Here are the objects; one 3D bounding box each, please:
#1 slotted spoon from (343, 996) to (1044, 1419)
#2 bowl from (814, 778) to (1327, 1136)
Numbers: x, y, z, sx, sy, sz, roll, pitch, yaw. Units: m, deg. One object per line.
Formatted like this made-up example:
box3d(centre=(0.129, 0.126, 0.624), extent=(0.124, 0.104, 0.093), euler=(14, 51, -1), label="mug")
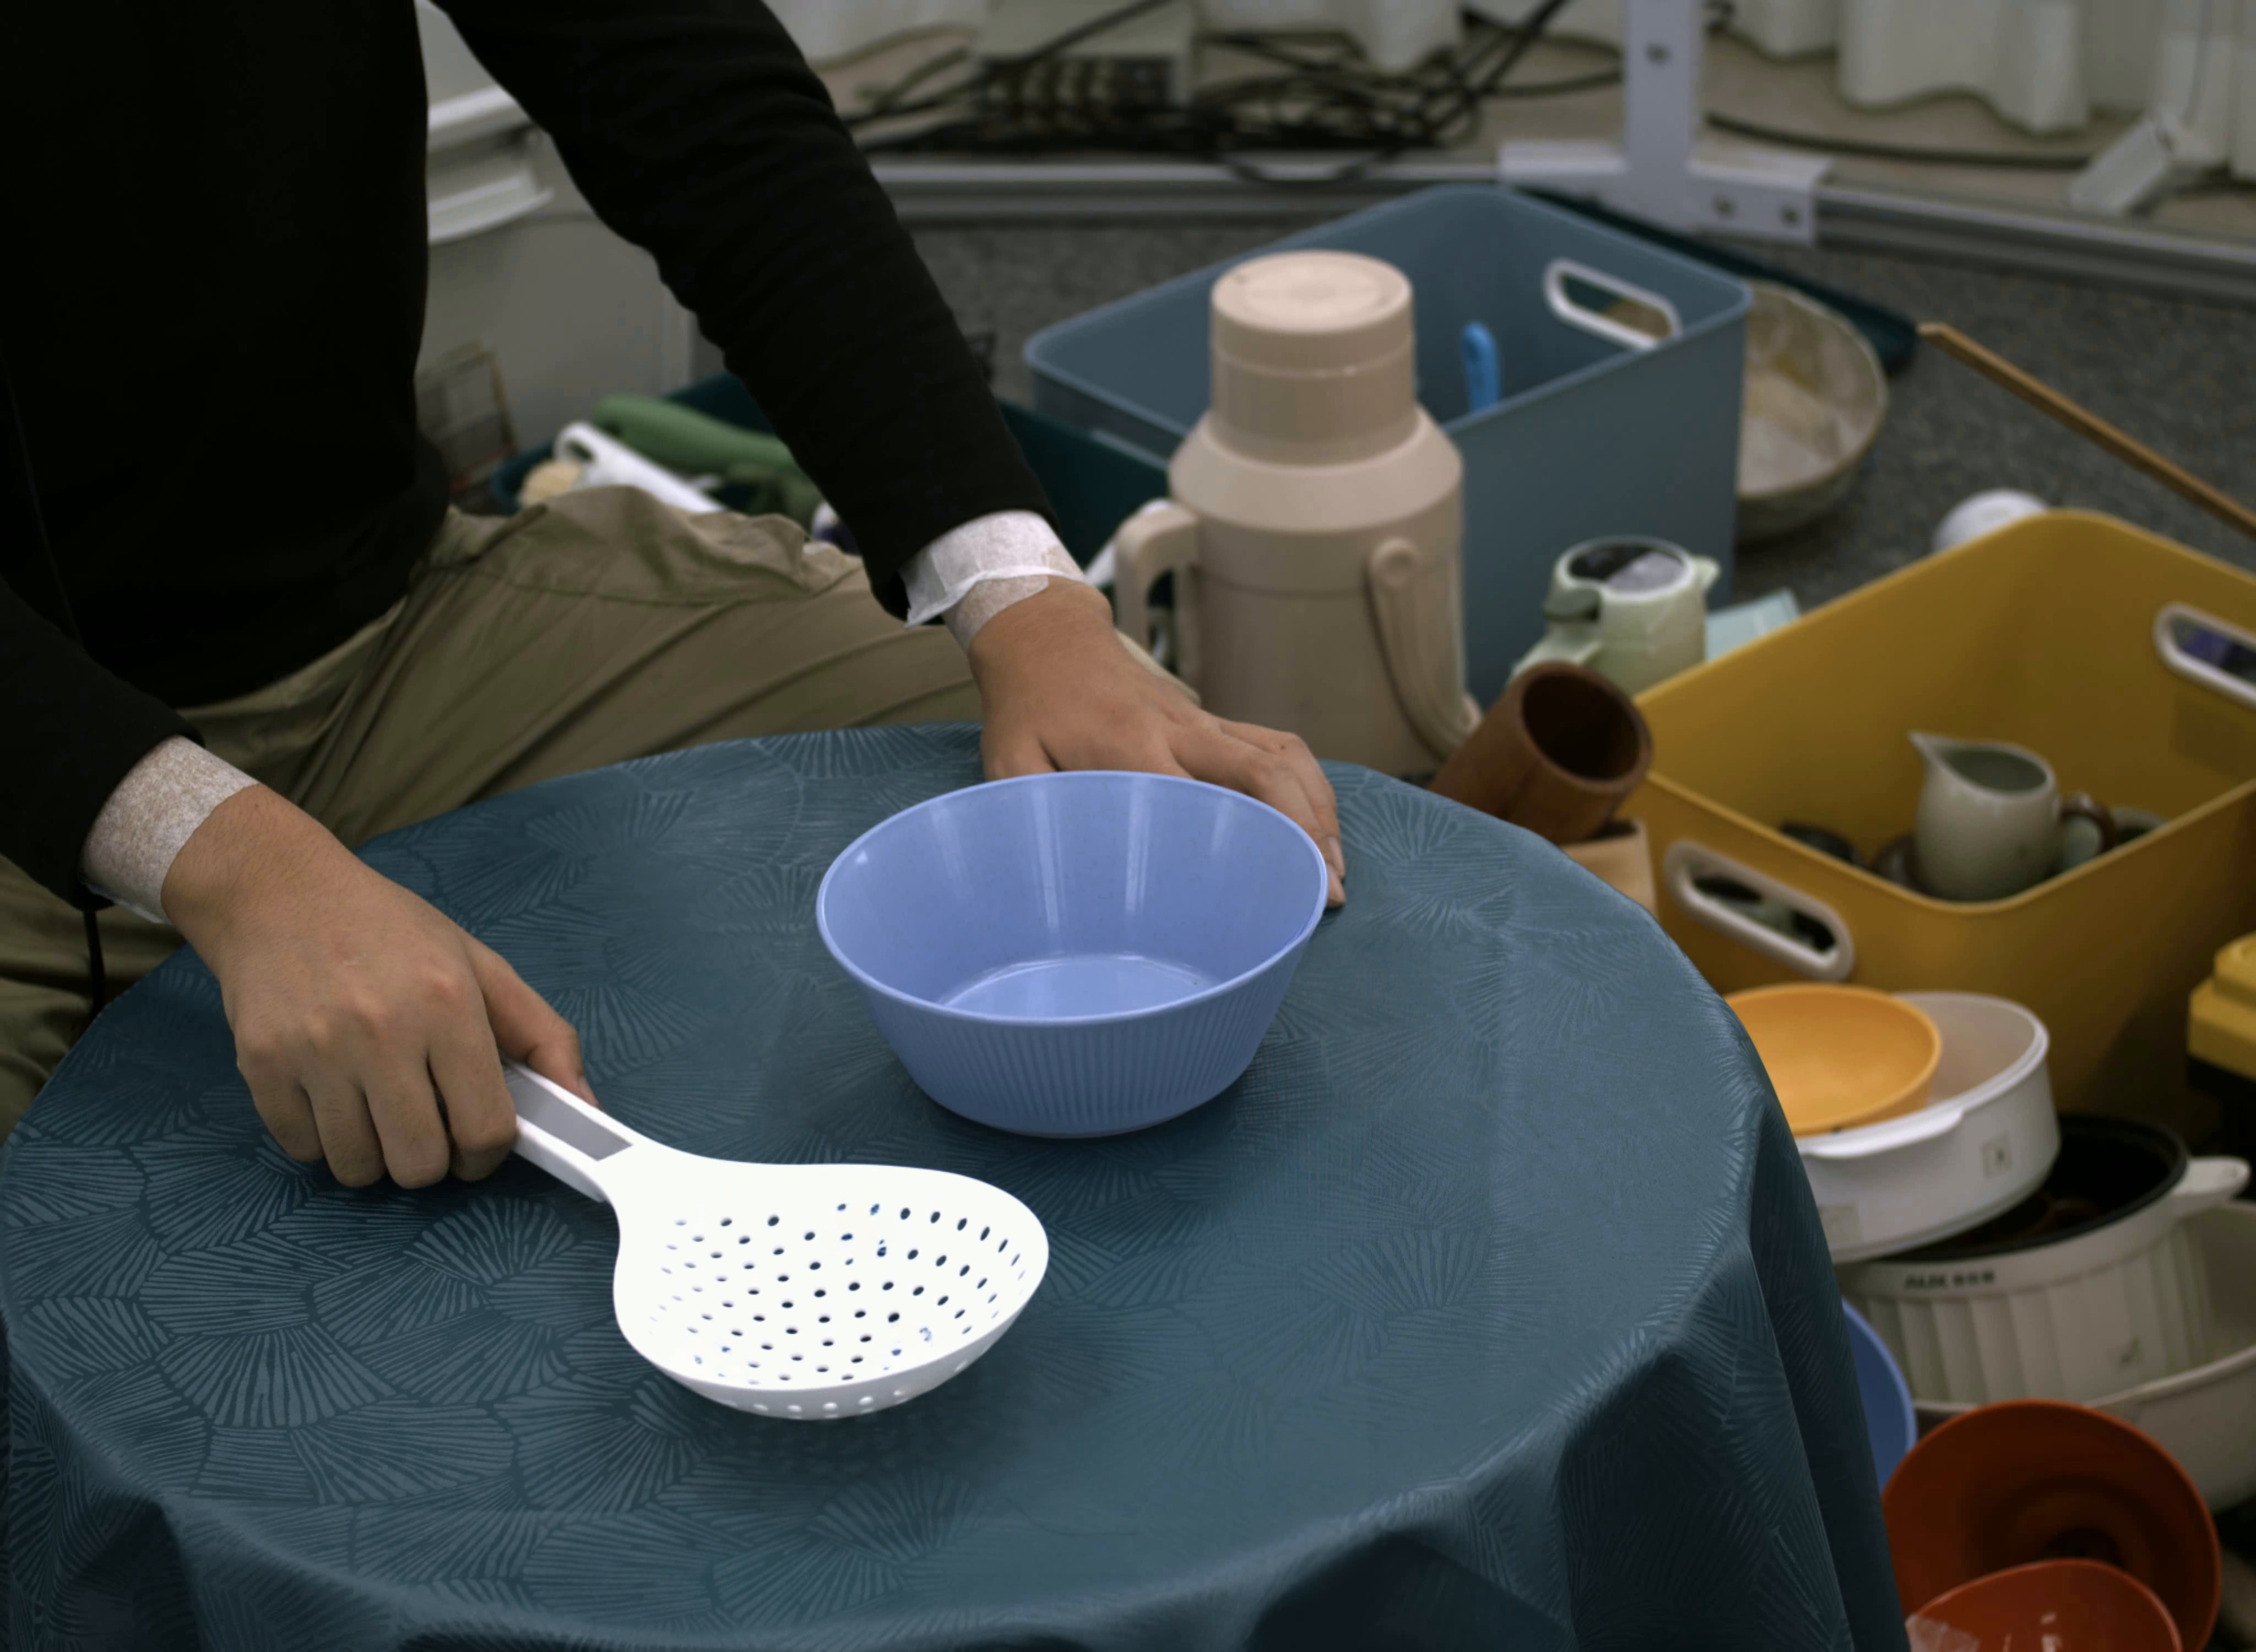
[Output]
box3d(centre=(-0.158, 0.117, 1.832), extent=(0.137, 0.045, 0.350), euler=(-24, 34, -31), label="slotted spoon")
box3d(centre=(-0.018, 0.050, 1.926), extent=(0.175, 0.069, 0.178), euler=(-3, 26, 2), label="bowl")
